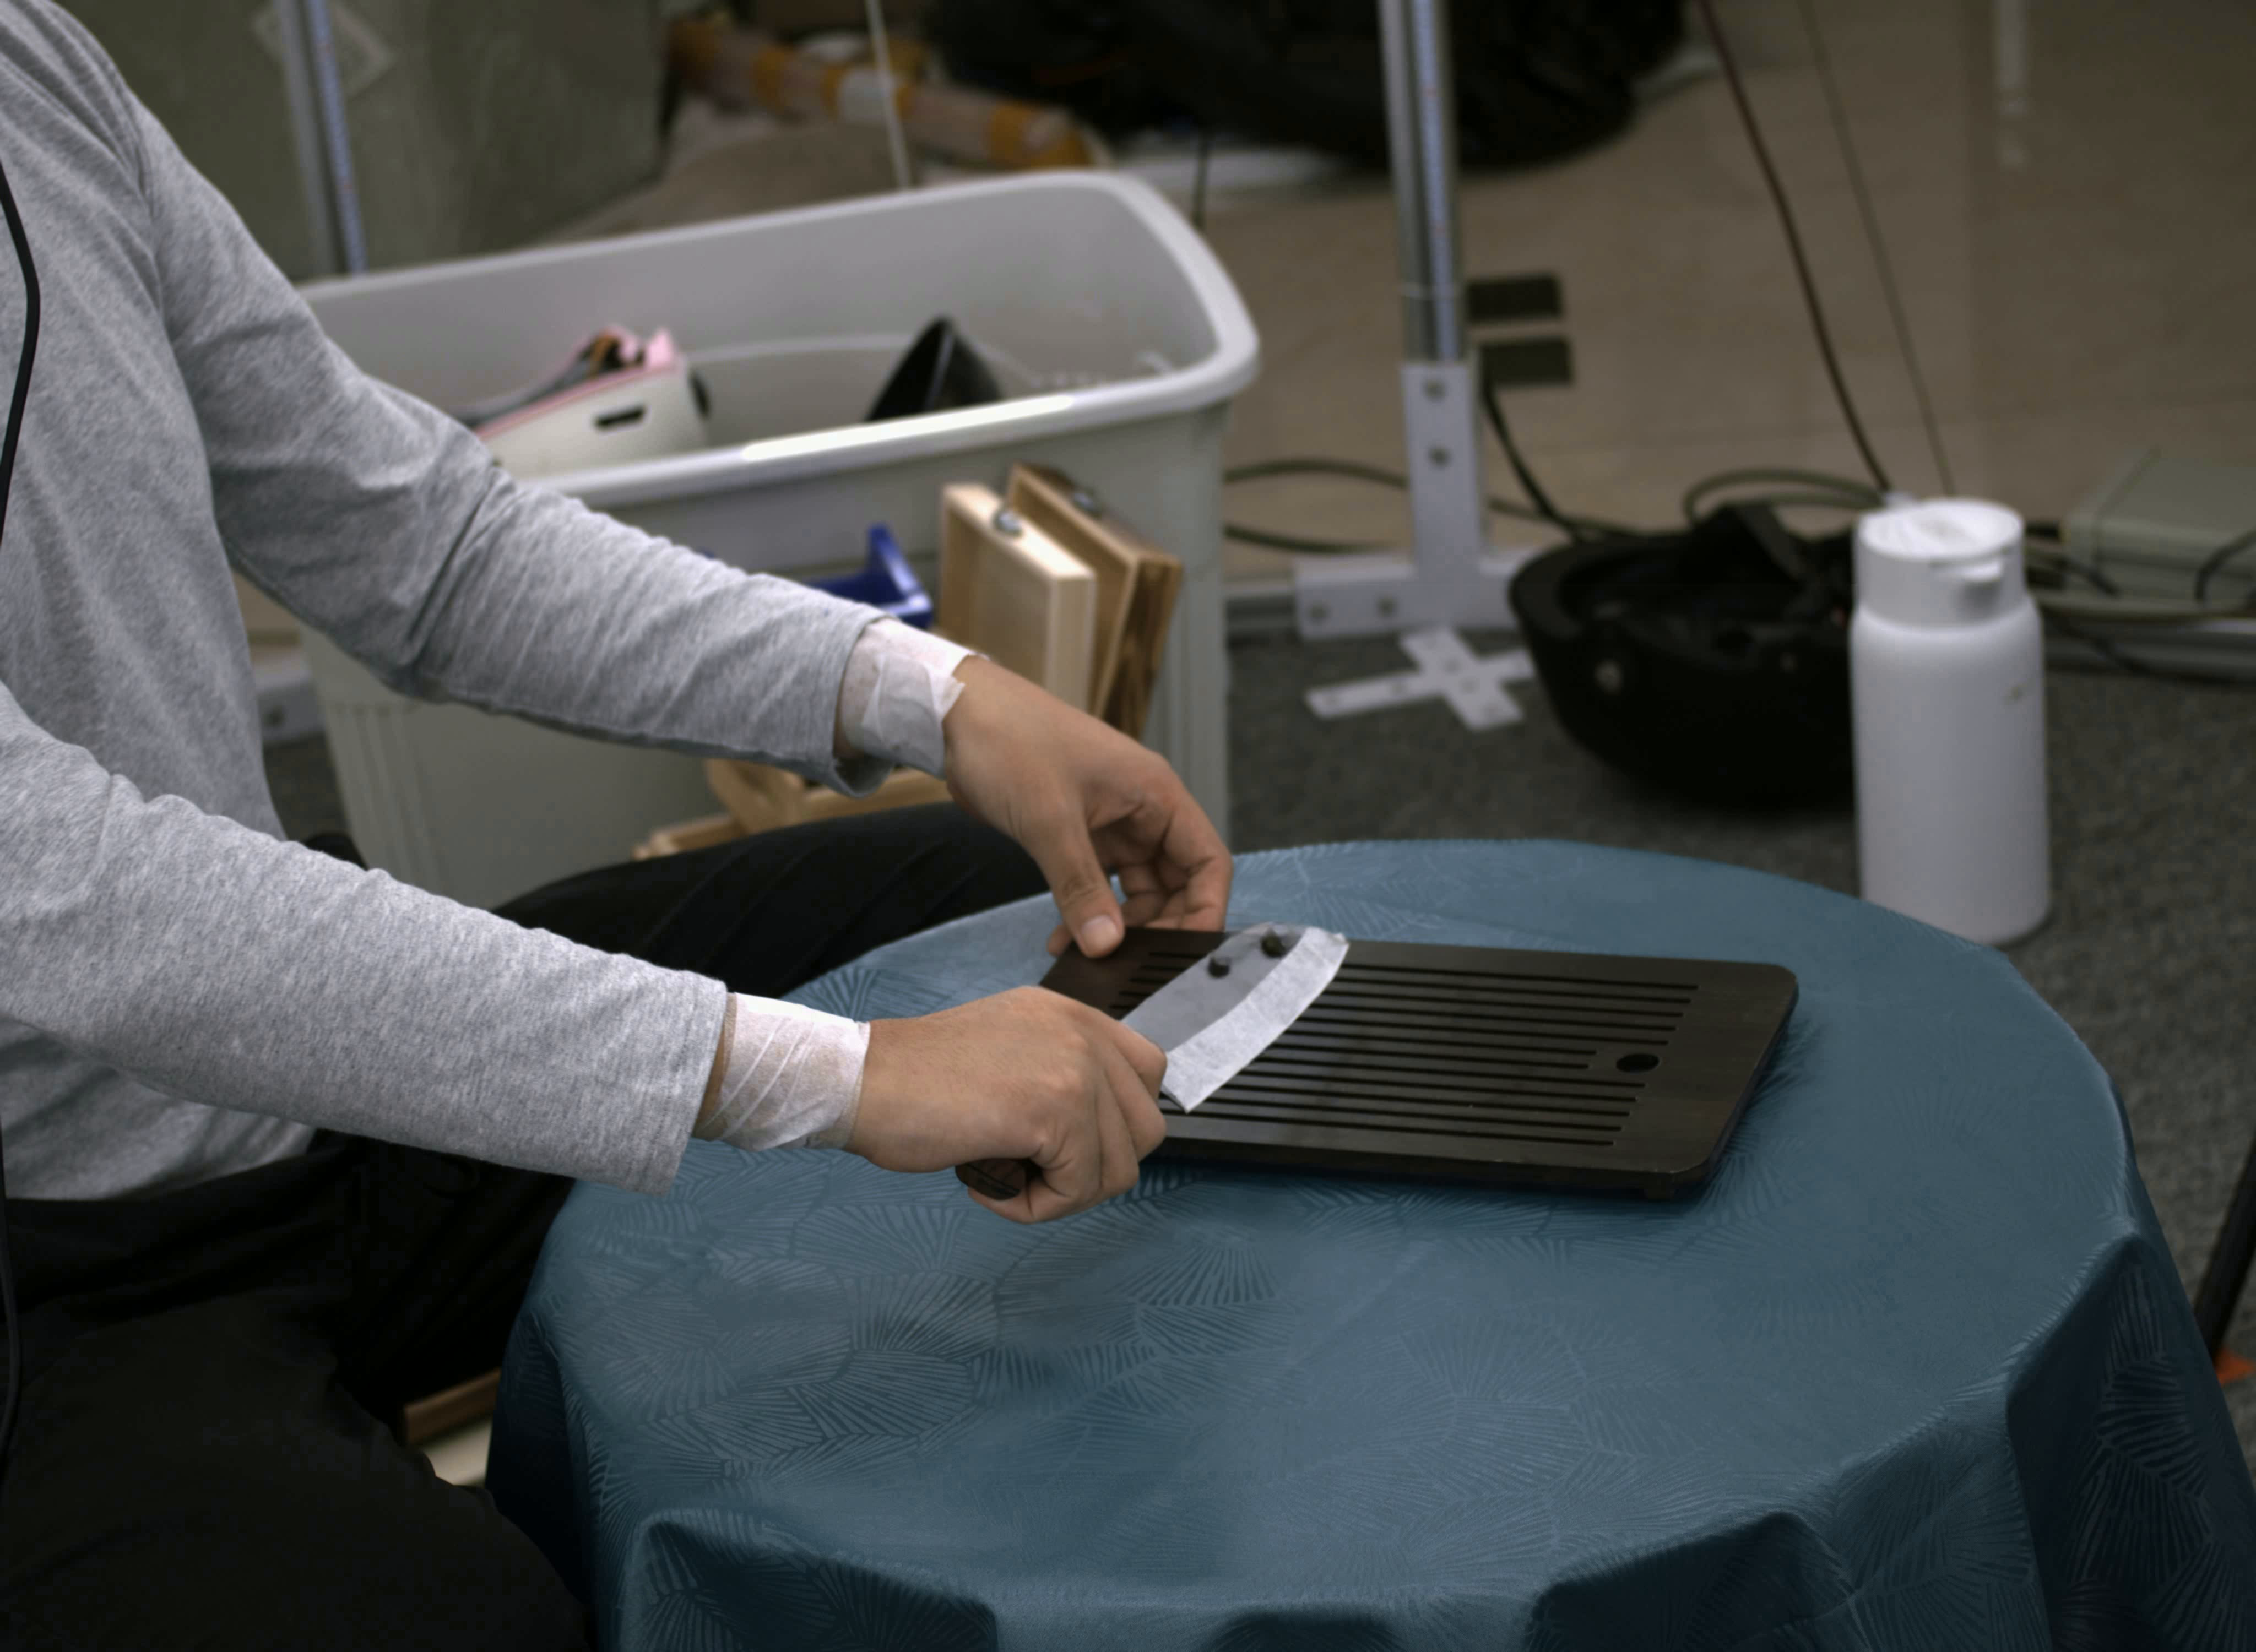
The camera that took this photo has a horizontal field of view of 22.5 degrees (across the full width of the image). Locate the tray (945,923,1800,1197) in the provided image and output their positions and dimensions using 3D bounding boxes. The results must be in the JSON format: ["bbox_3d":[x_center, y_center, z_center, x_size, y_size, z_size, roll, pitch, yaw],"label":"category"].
[{"bbox_3d":[0.096,0.090,2.210,0.305,0.019,0.168,3,27,21],"label":"tray"}]

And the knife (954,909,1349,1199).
[{"bbox_3d":[0.015,0.082,2.121,0.050,0.020,0.286,47,33,8],"label":"knife"}]
